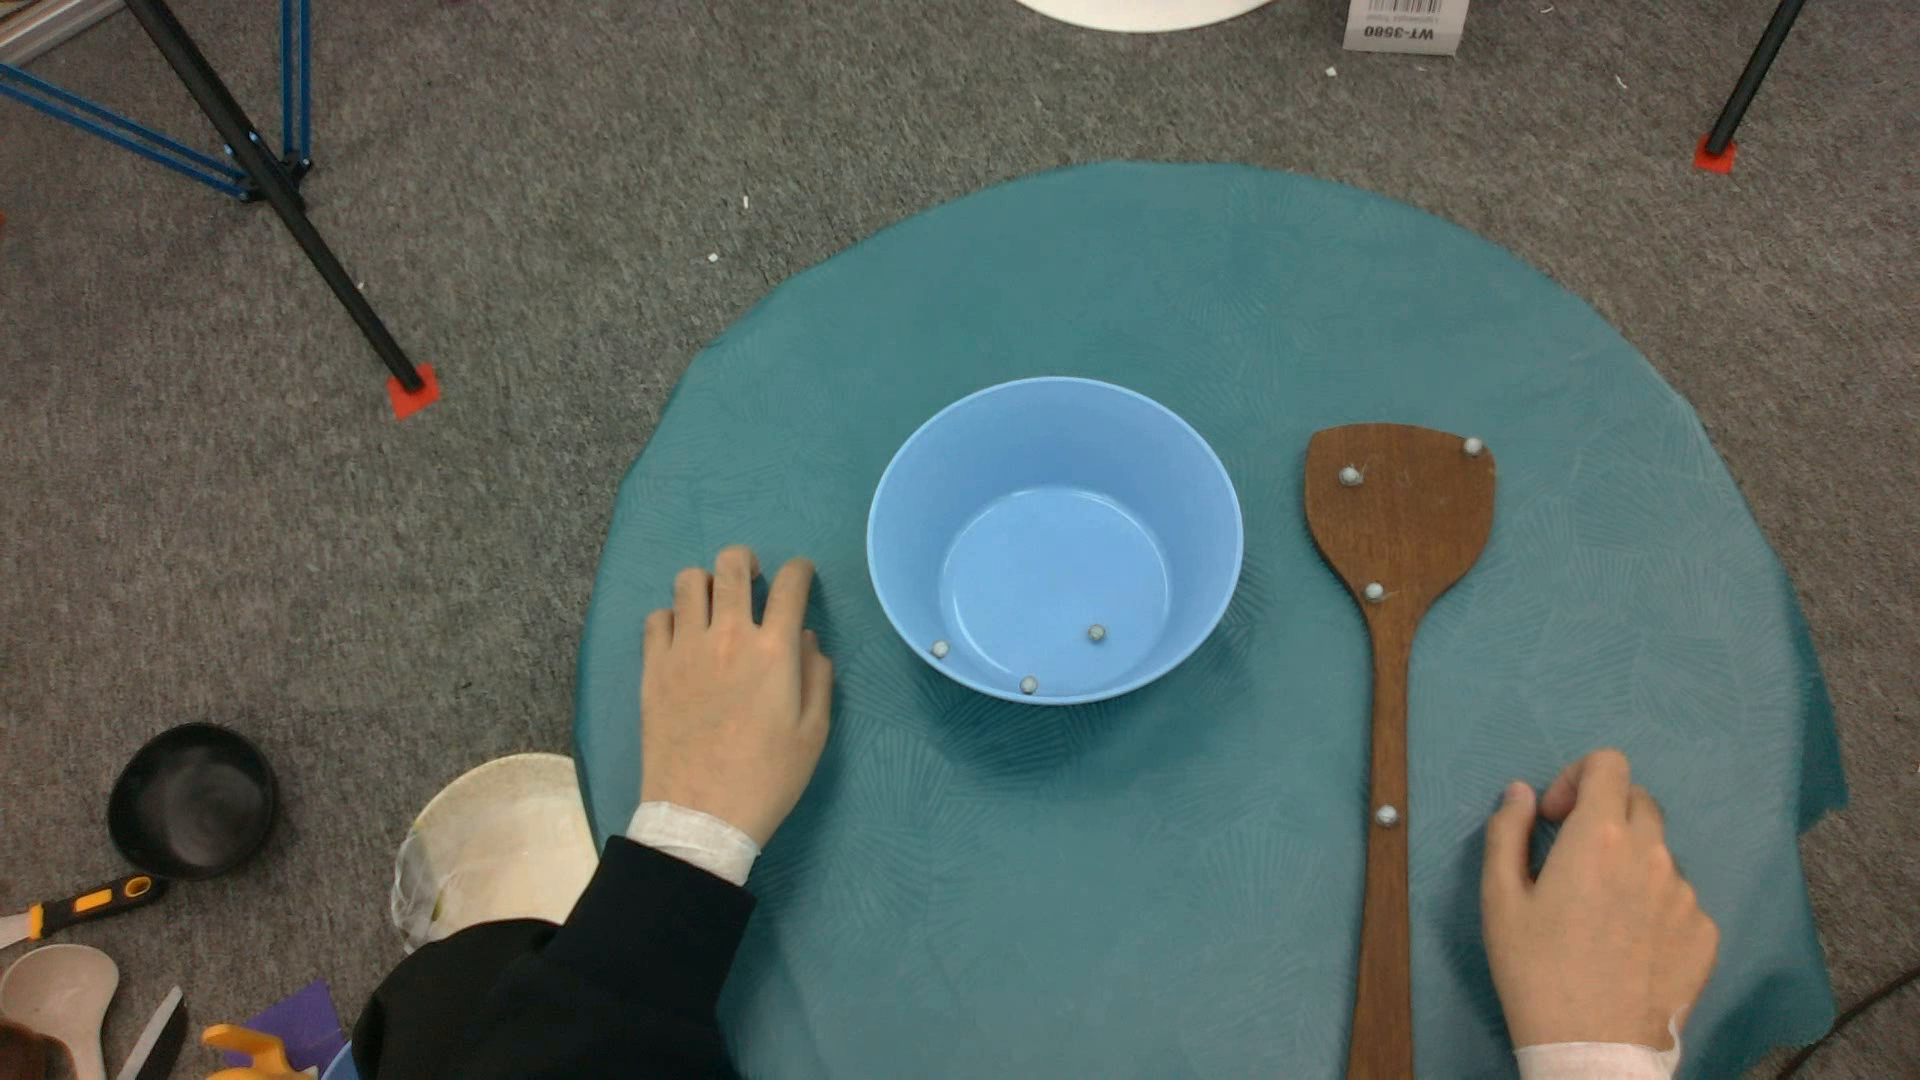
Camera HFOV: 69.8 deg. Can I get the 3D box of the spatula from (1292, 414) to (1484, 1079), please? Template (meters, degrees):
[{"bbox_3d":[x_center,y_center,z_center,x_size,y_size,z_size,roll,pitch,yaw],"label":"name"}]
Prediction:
[{"bbox_3d":[0.194,0.103,0.638,0.096,0.016,0.387,6,62,8],"label":"spatula"}]

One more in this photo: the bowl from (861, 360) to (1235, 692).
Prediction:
[{"bbox_3d":[0.043,0.003,0.673,0.176,0.070,0.177,-2,62,4],"label":"bowl"}]
